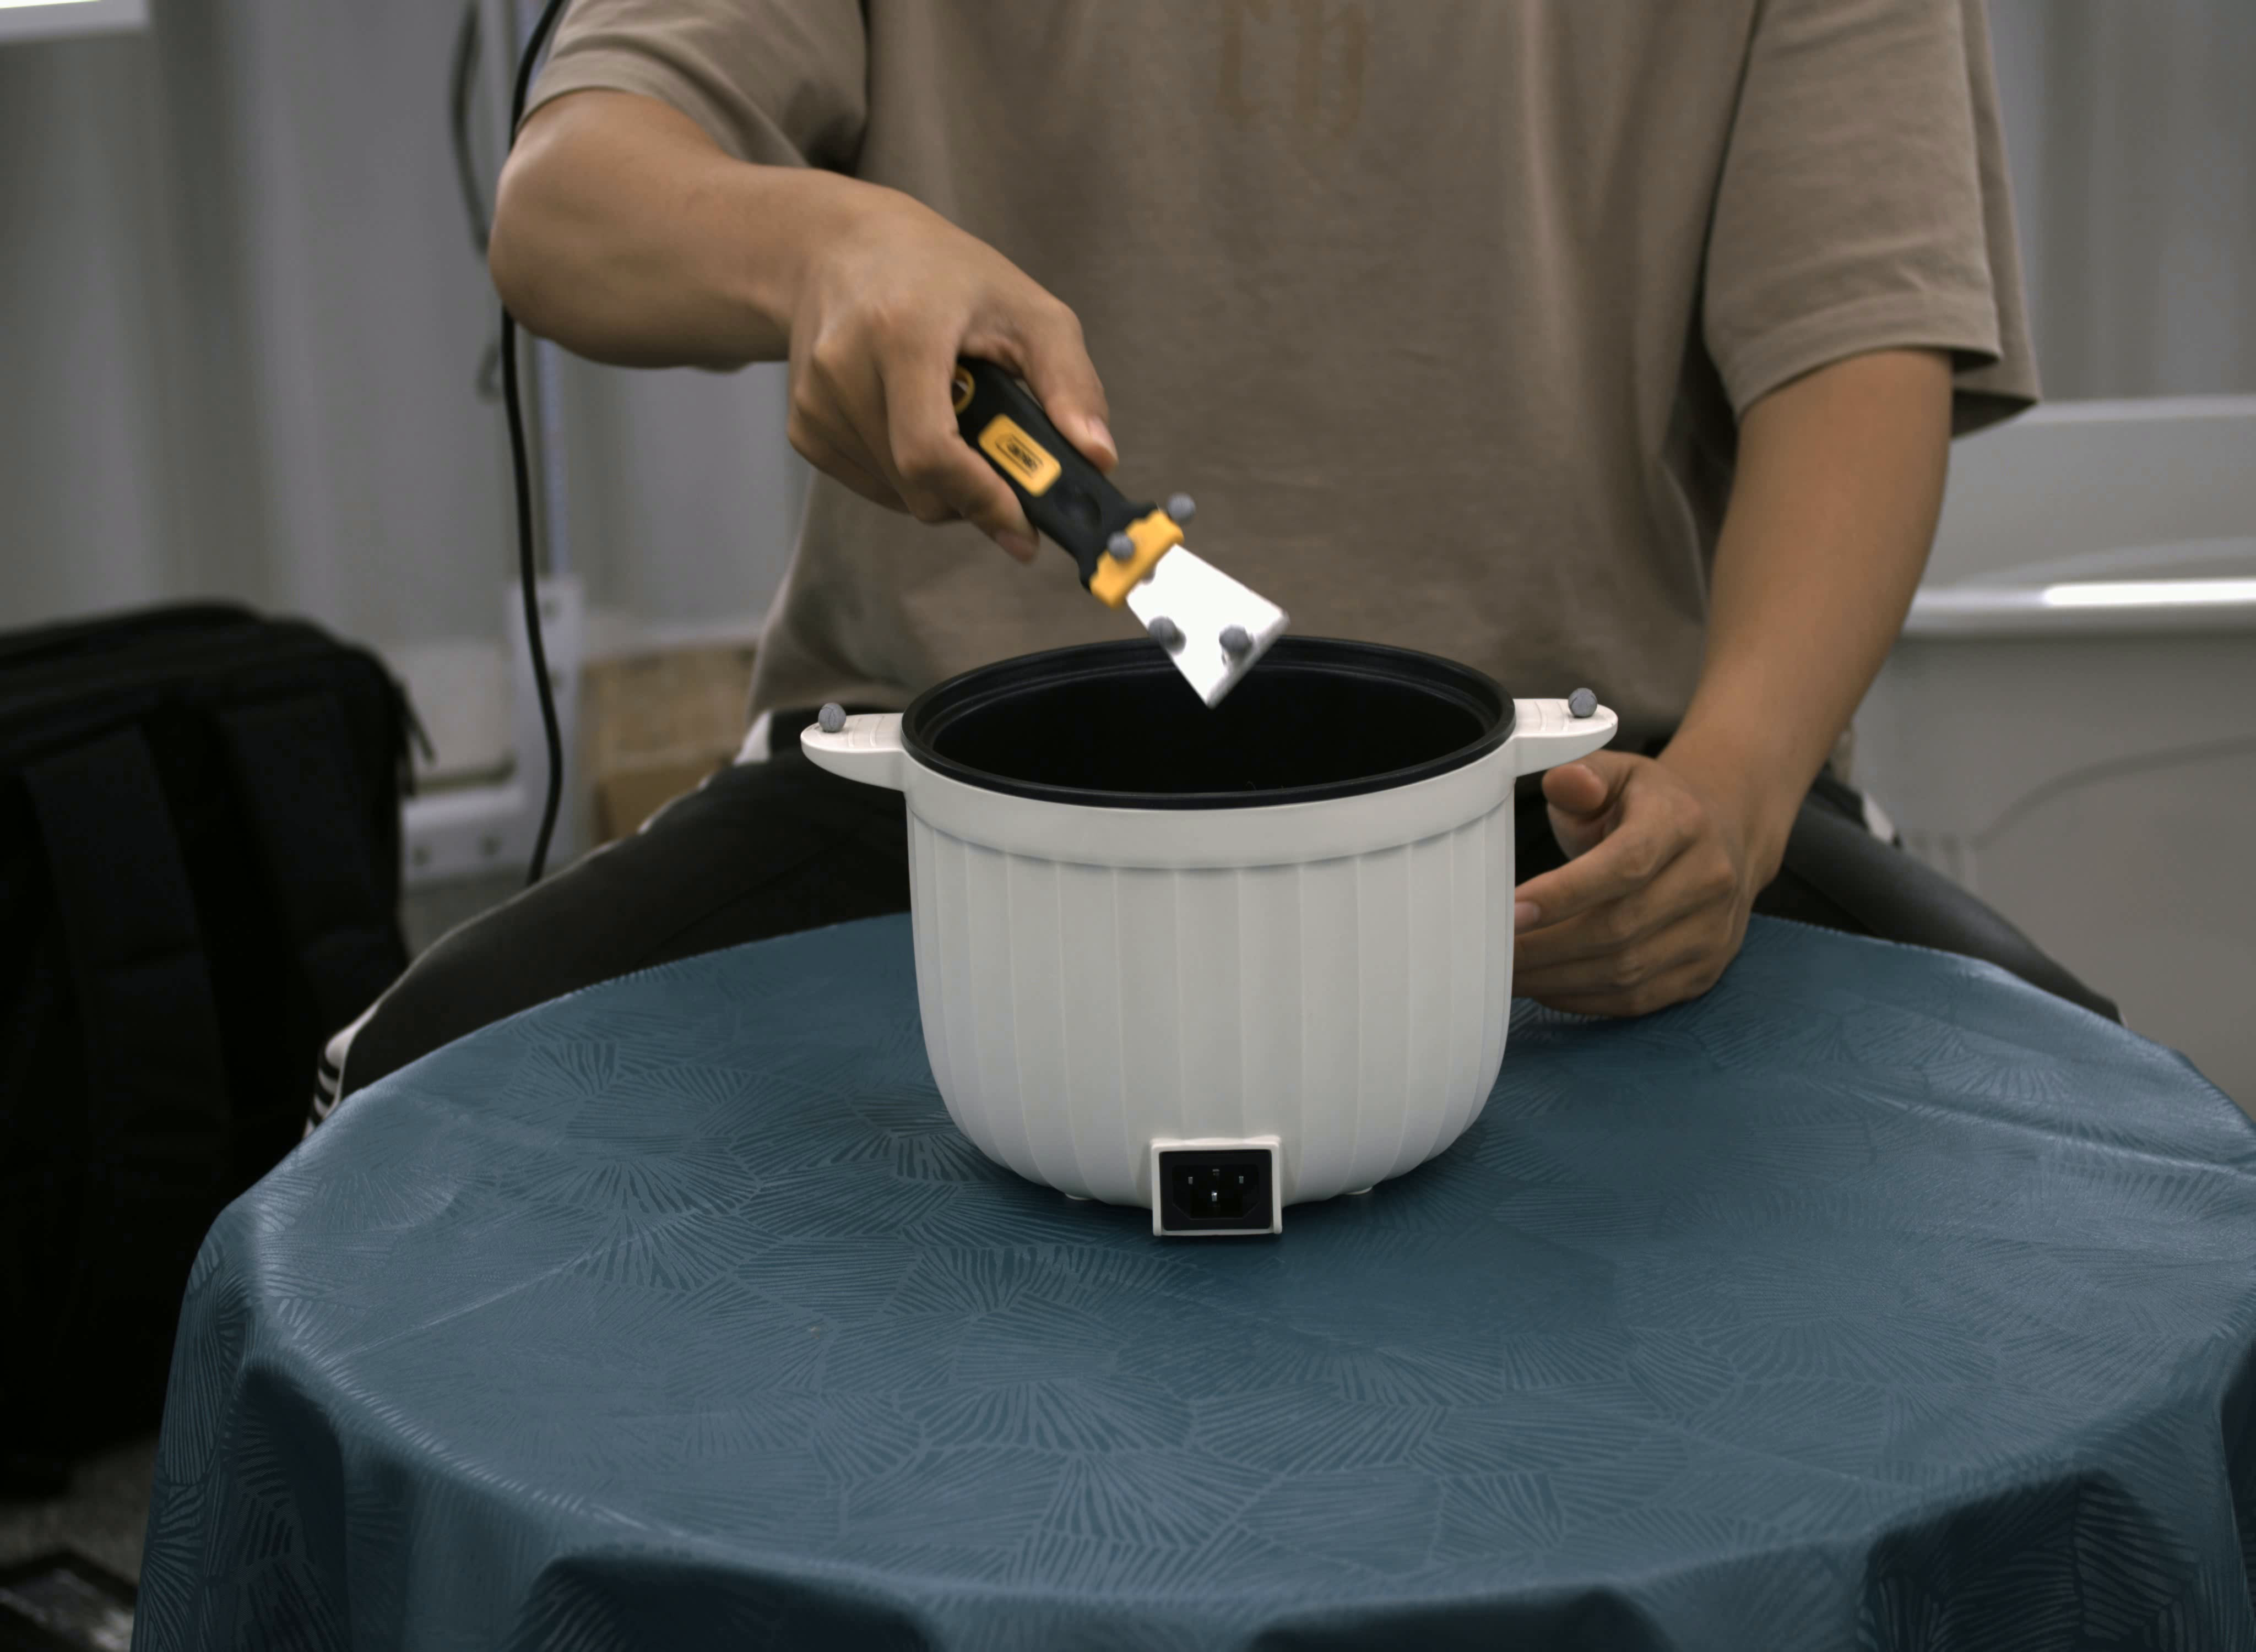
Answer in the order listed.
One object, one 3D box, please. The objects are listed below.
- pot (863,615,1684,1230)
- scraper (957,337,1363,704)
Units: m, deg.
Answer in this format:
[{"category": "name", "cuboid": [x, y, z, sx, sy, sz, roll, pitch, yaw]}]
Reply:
[{"category": "pot", "cuboid": [0.043, 0.025, 1.576, 0.240, 0.142, 0.191, 0, 20, 2]}, {"category": "scraper", "cuboid": [0.005, -0.093, 1.568, 0.175, 0.039, 0.014, 42, 6, 37]}]
